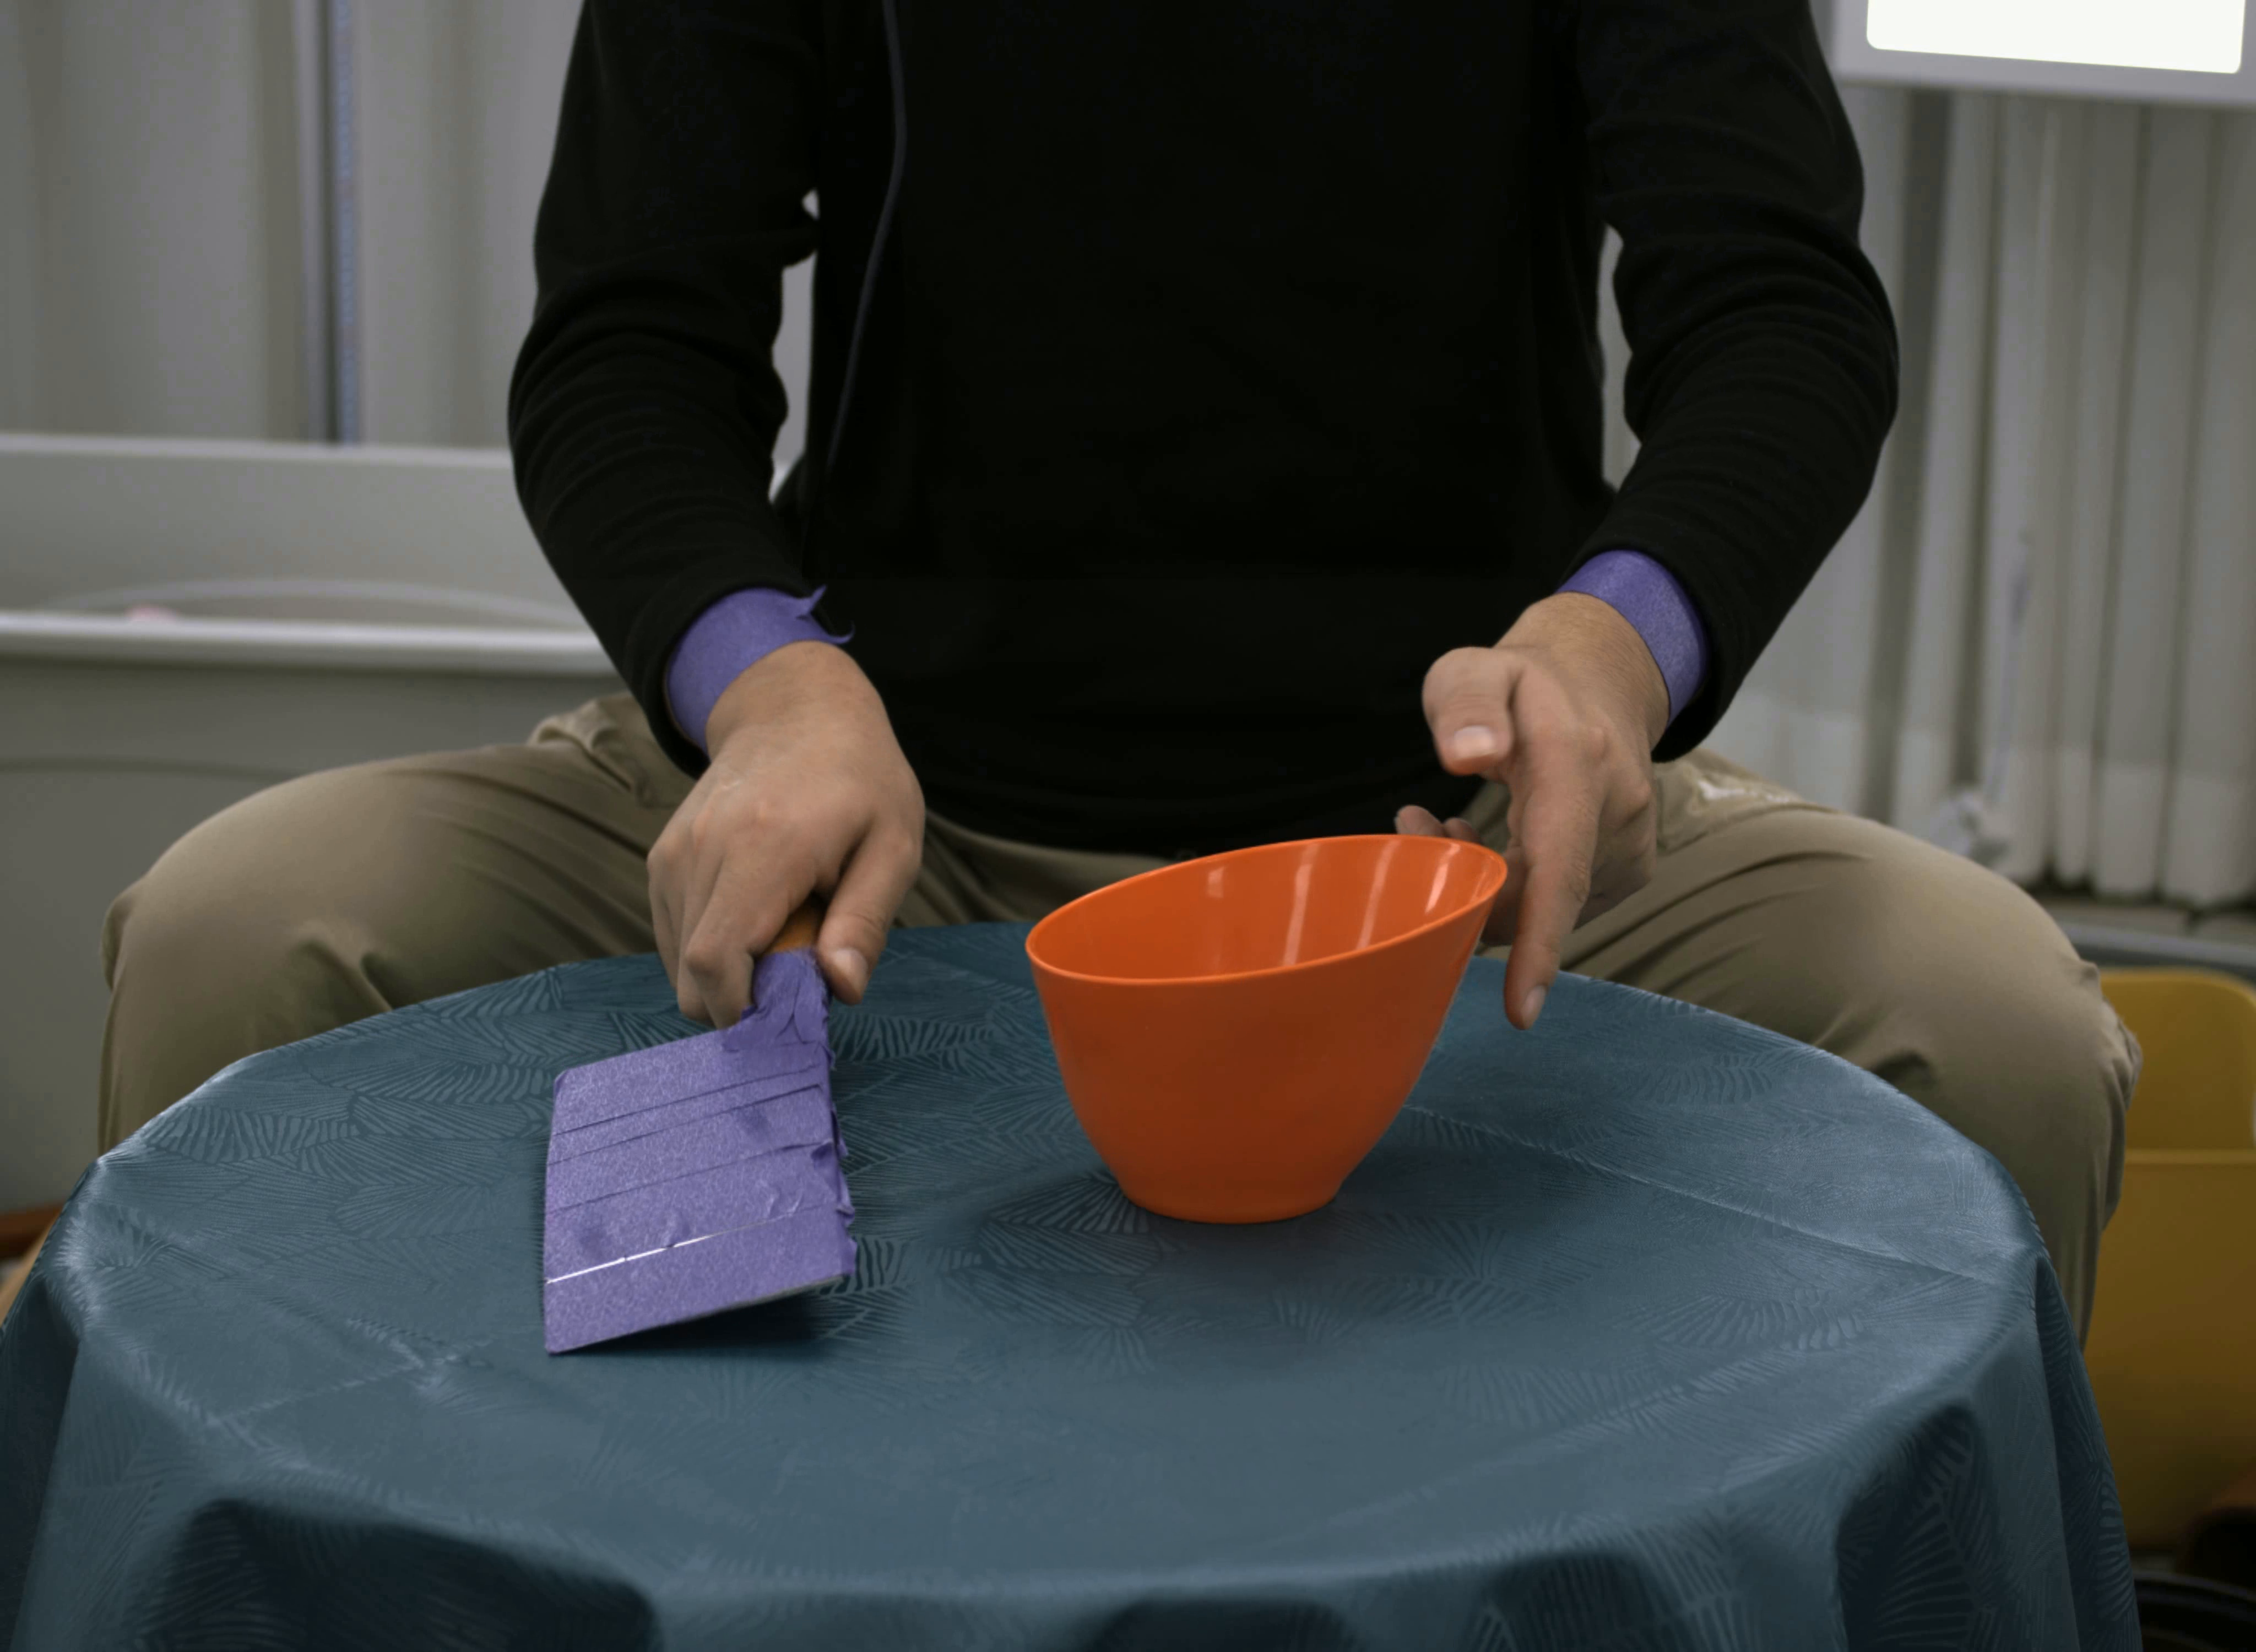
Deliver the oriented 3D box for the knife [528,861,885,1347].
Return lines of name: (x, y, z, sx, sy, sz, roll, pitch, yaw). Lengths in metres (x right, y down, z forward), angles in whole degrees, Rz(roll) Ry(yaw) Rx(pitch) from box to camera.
knife: (-0.133, 0.081, 1.624, 0.103, 0.032, 0.313, -14, 19, -1)

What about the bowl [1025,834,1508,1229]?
bowl: (0.042, 0.064, 1.609, 0.147, 0.105, 0.147, 0, 17, 1)
